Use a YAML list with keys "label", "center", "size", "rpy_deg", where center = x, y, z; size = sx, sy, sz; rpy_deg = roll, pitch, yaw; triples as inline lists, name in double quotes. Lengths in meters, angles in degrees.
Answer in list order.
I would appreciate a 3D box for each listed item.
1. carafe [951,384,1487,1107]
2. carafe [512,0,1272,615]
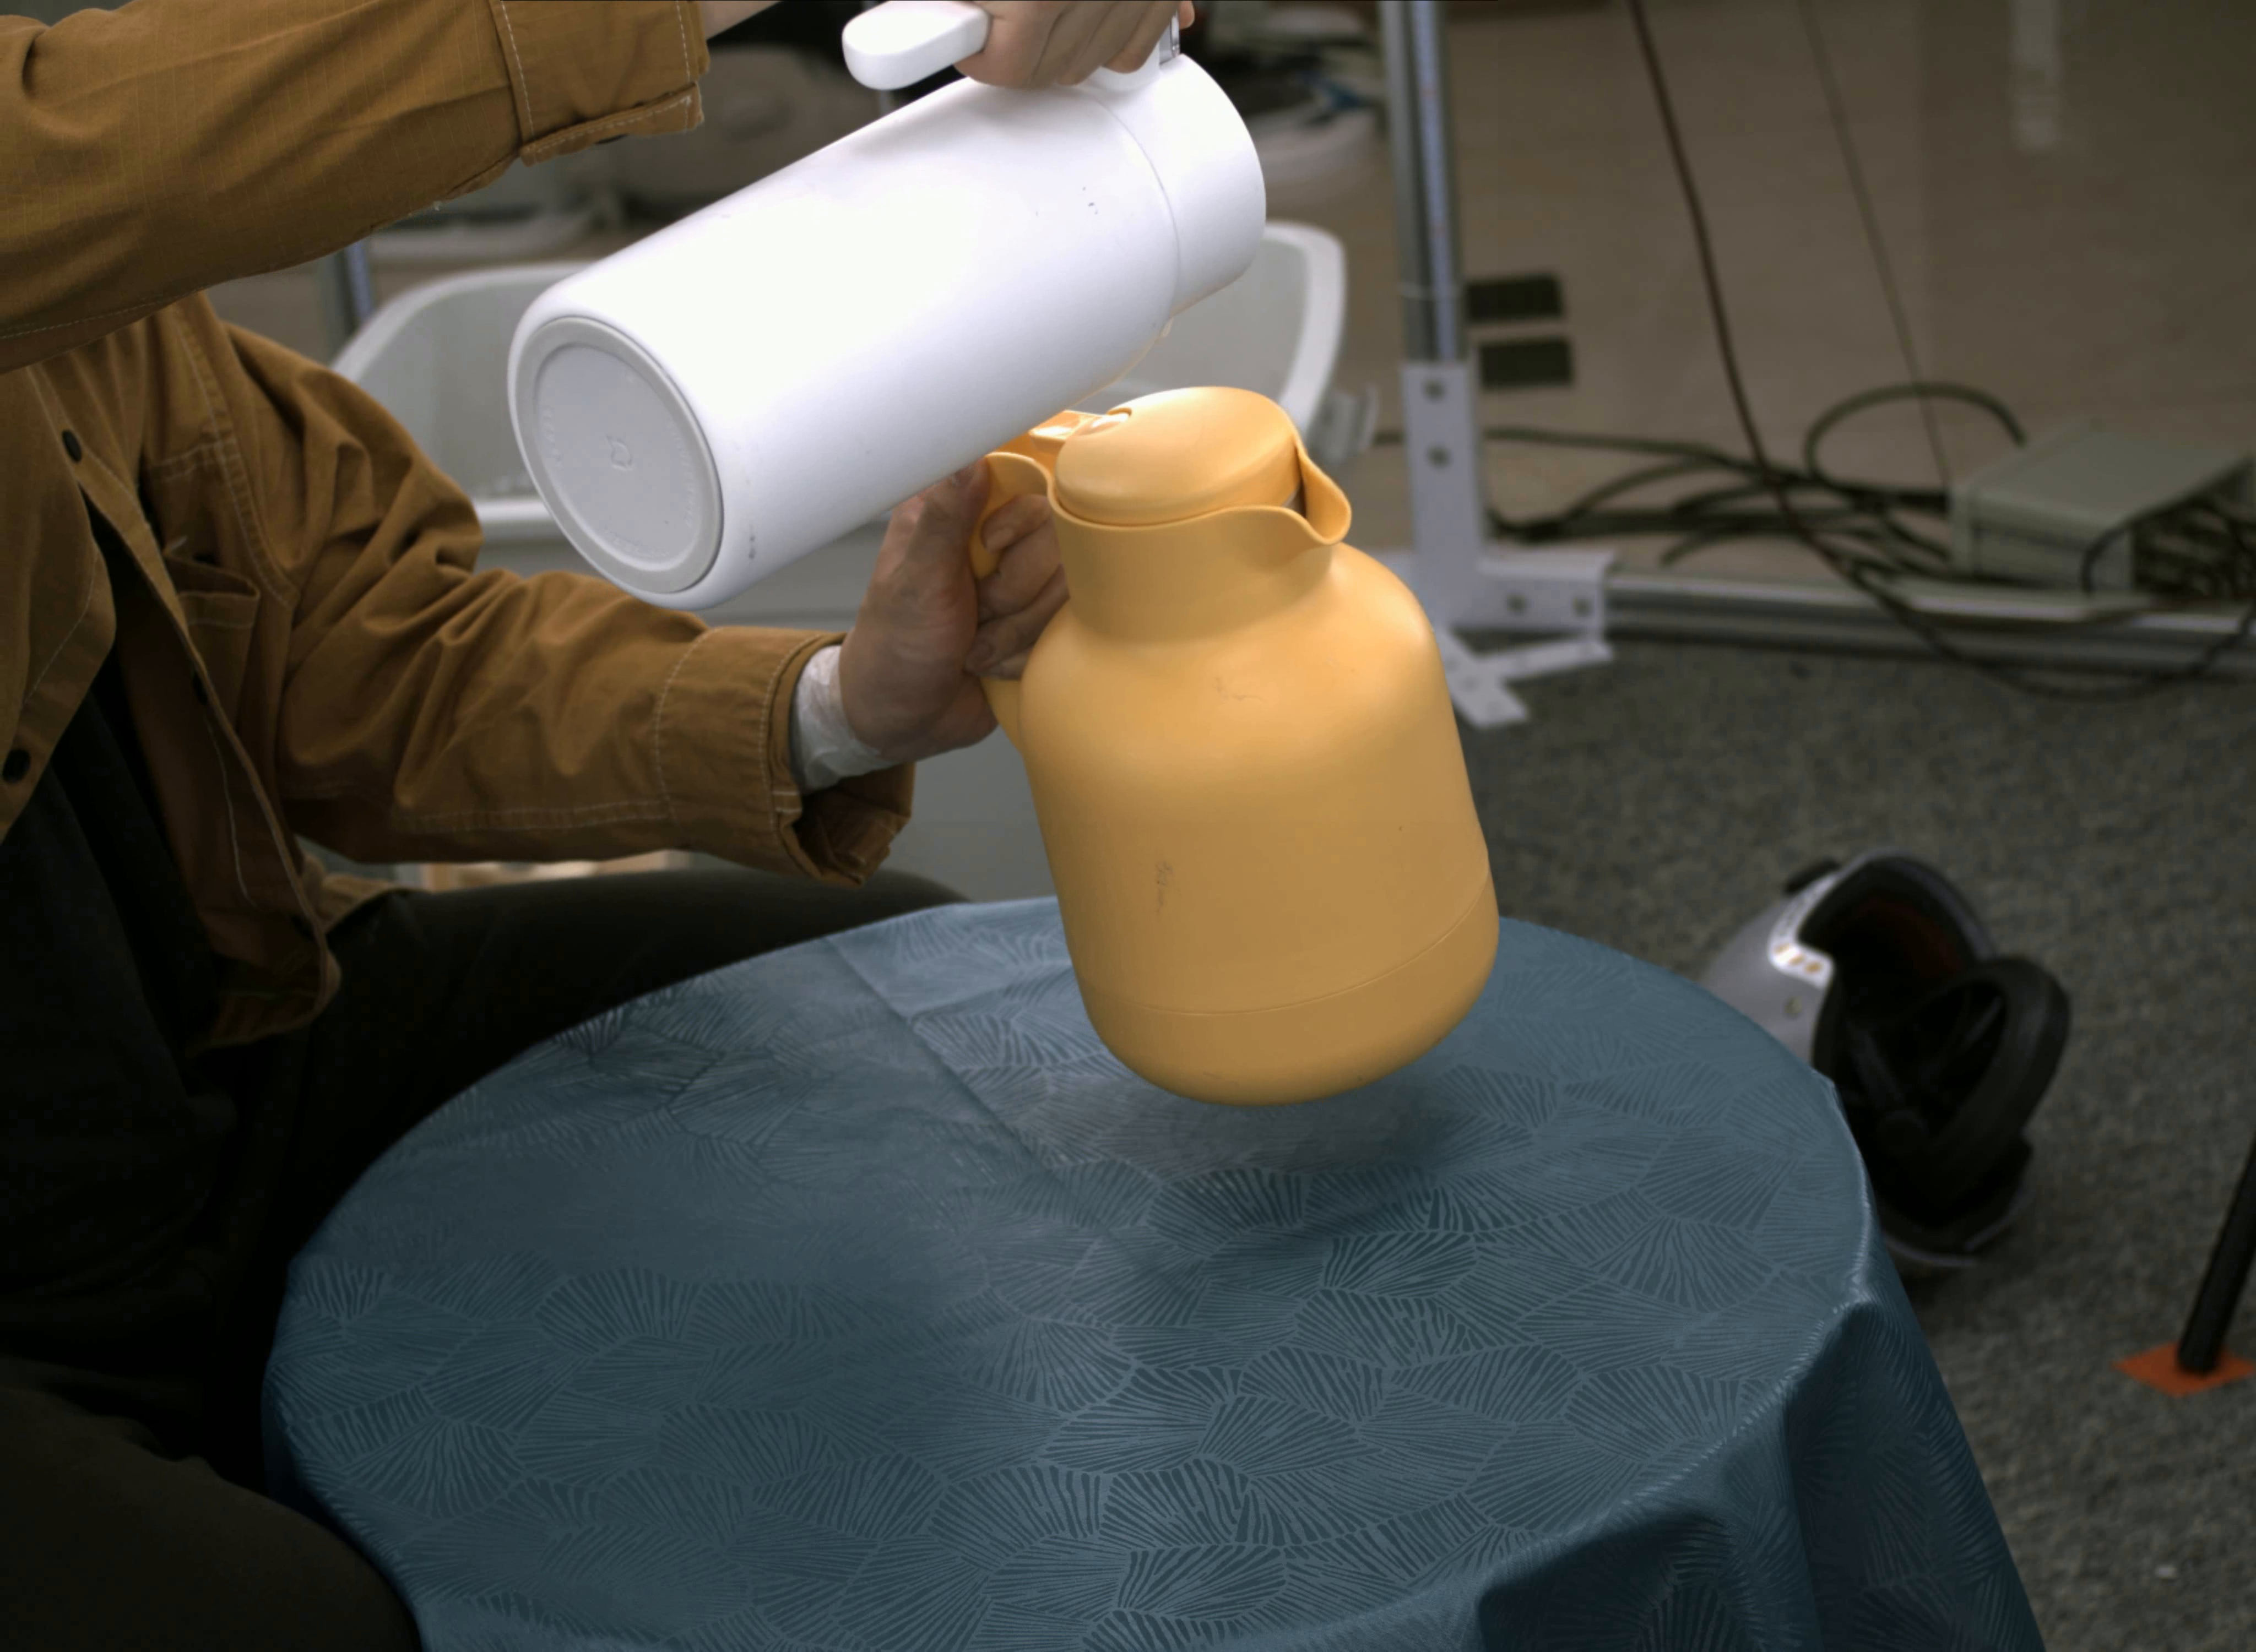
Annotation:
- label: "carafe"
  center: [0.027, -0.040, 2.120]
  size: [0.201, 0.265, 0.162]
  rpy_deg: [19, 41, 40]
- label: "carafe"
  center: [-0.075, -0.190, 1.898]
  size: [0.122, 0.176, 0.266]
  rpy_deg: [31, 47, 34]
